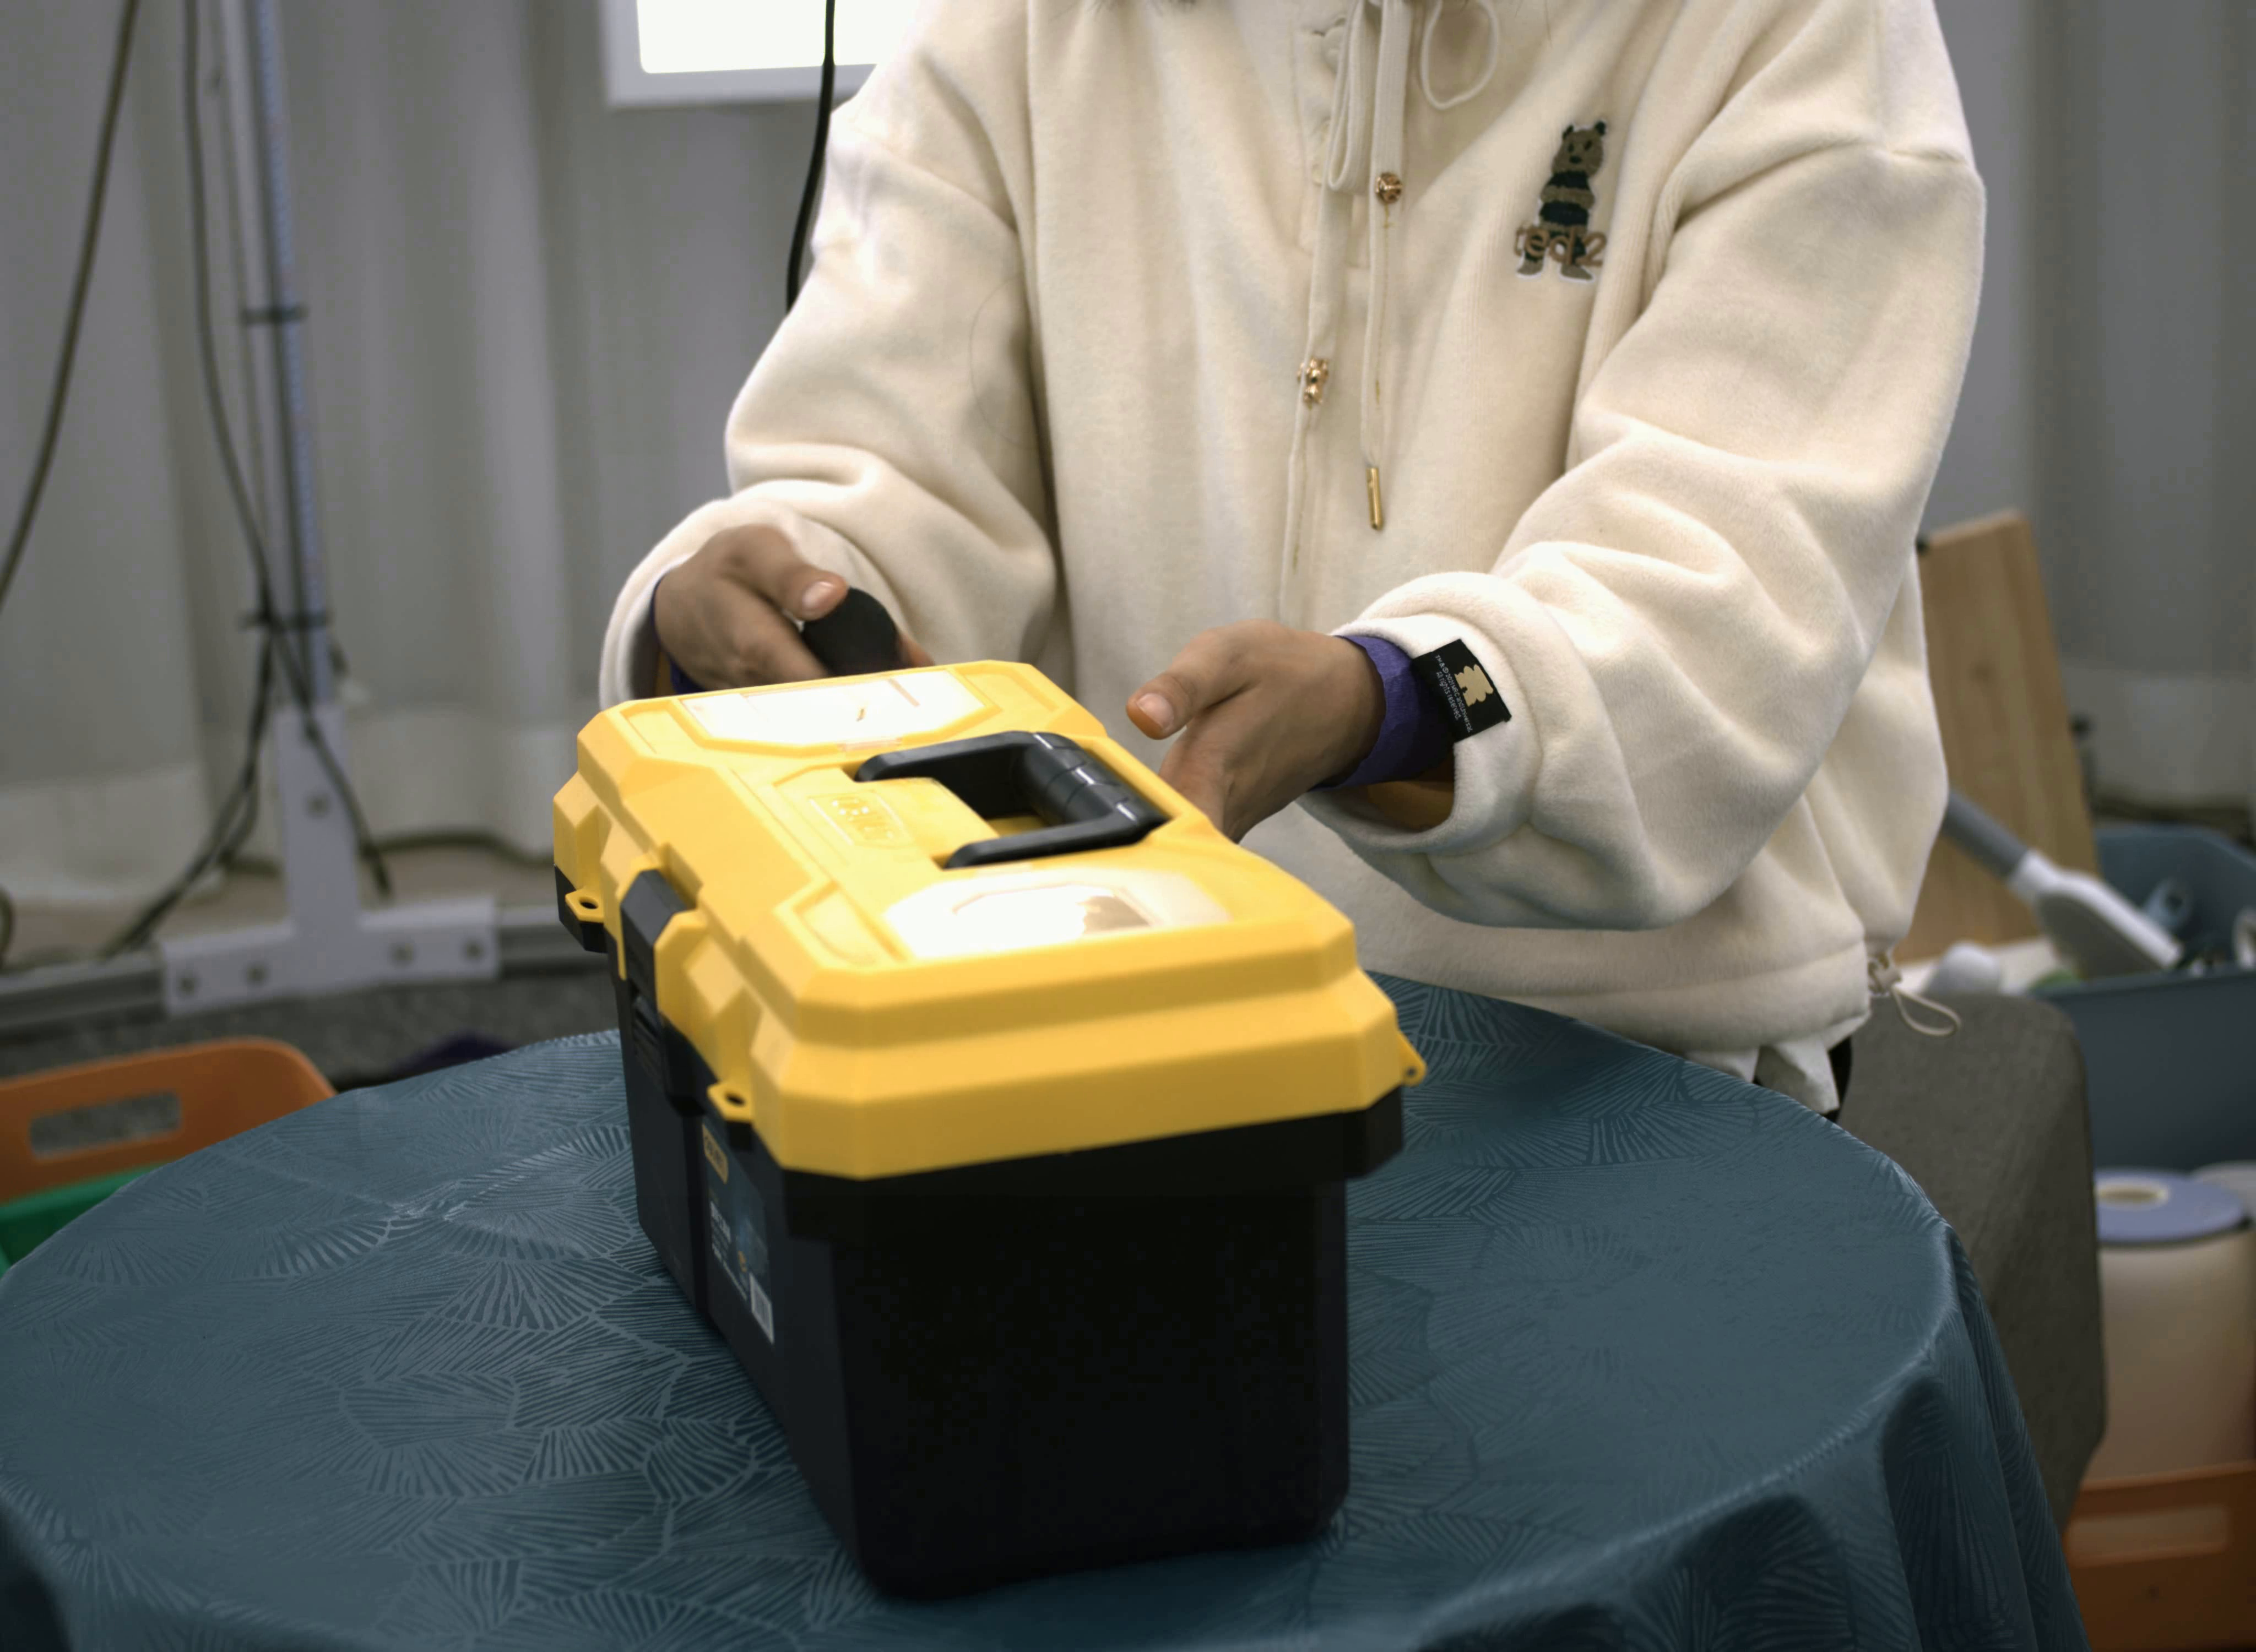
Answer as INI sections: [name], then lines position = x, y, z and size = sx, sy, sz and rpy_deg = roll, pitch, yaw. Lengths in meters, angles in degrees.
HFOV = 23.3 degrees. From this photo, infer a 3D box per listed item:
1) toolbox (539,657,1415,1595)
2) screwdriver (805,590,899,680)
[toolbox]
position = -0.049, 0.074, 1.540
size = 0.180, 0.172, 0.354
rpy_deg = -6, 15, -14
[screwdriver]
position = -0.086, -0.054, 1.772
size = 0.031, 0.031, 0.197
rpy_deg = -4, 10, -6
